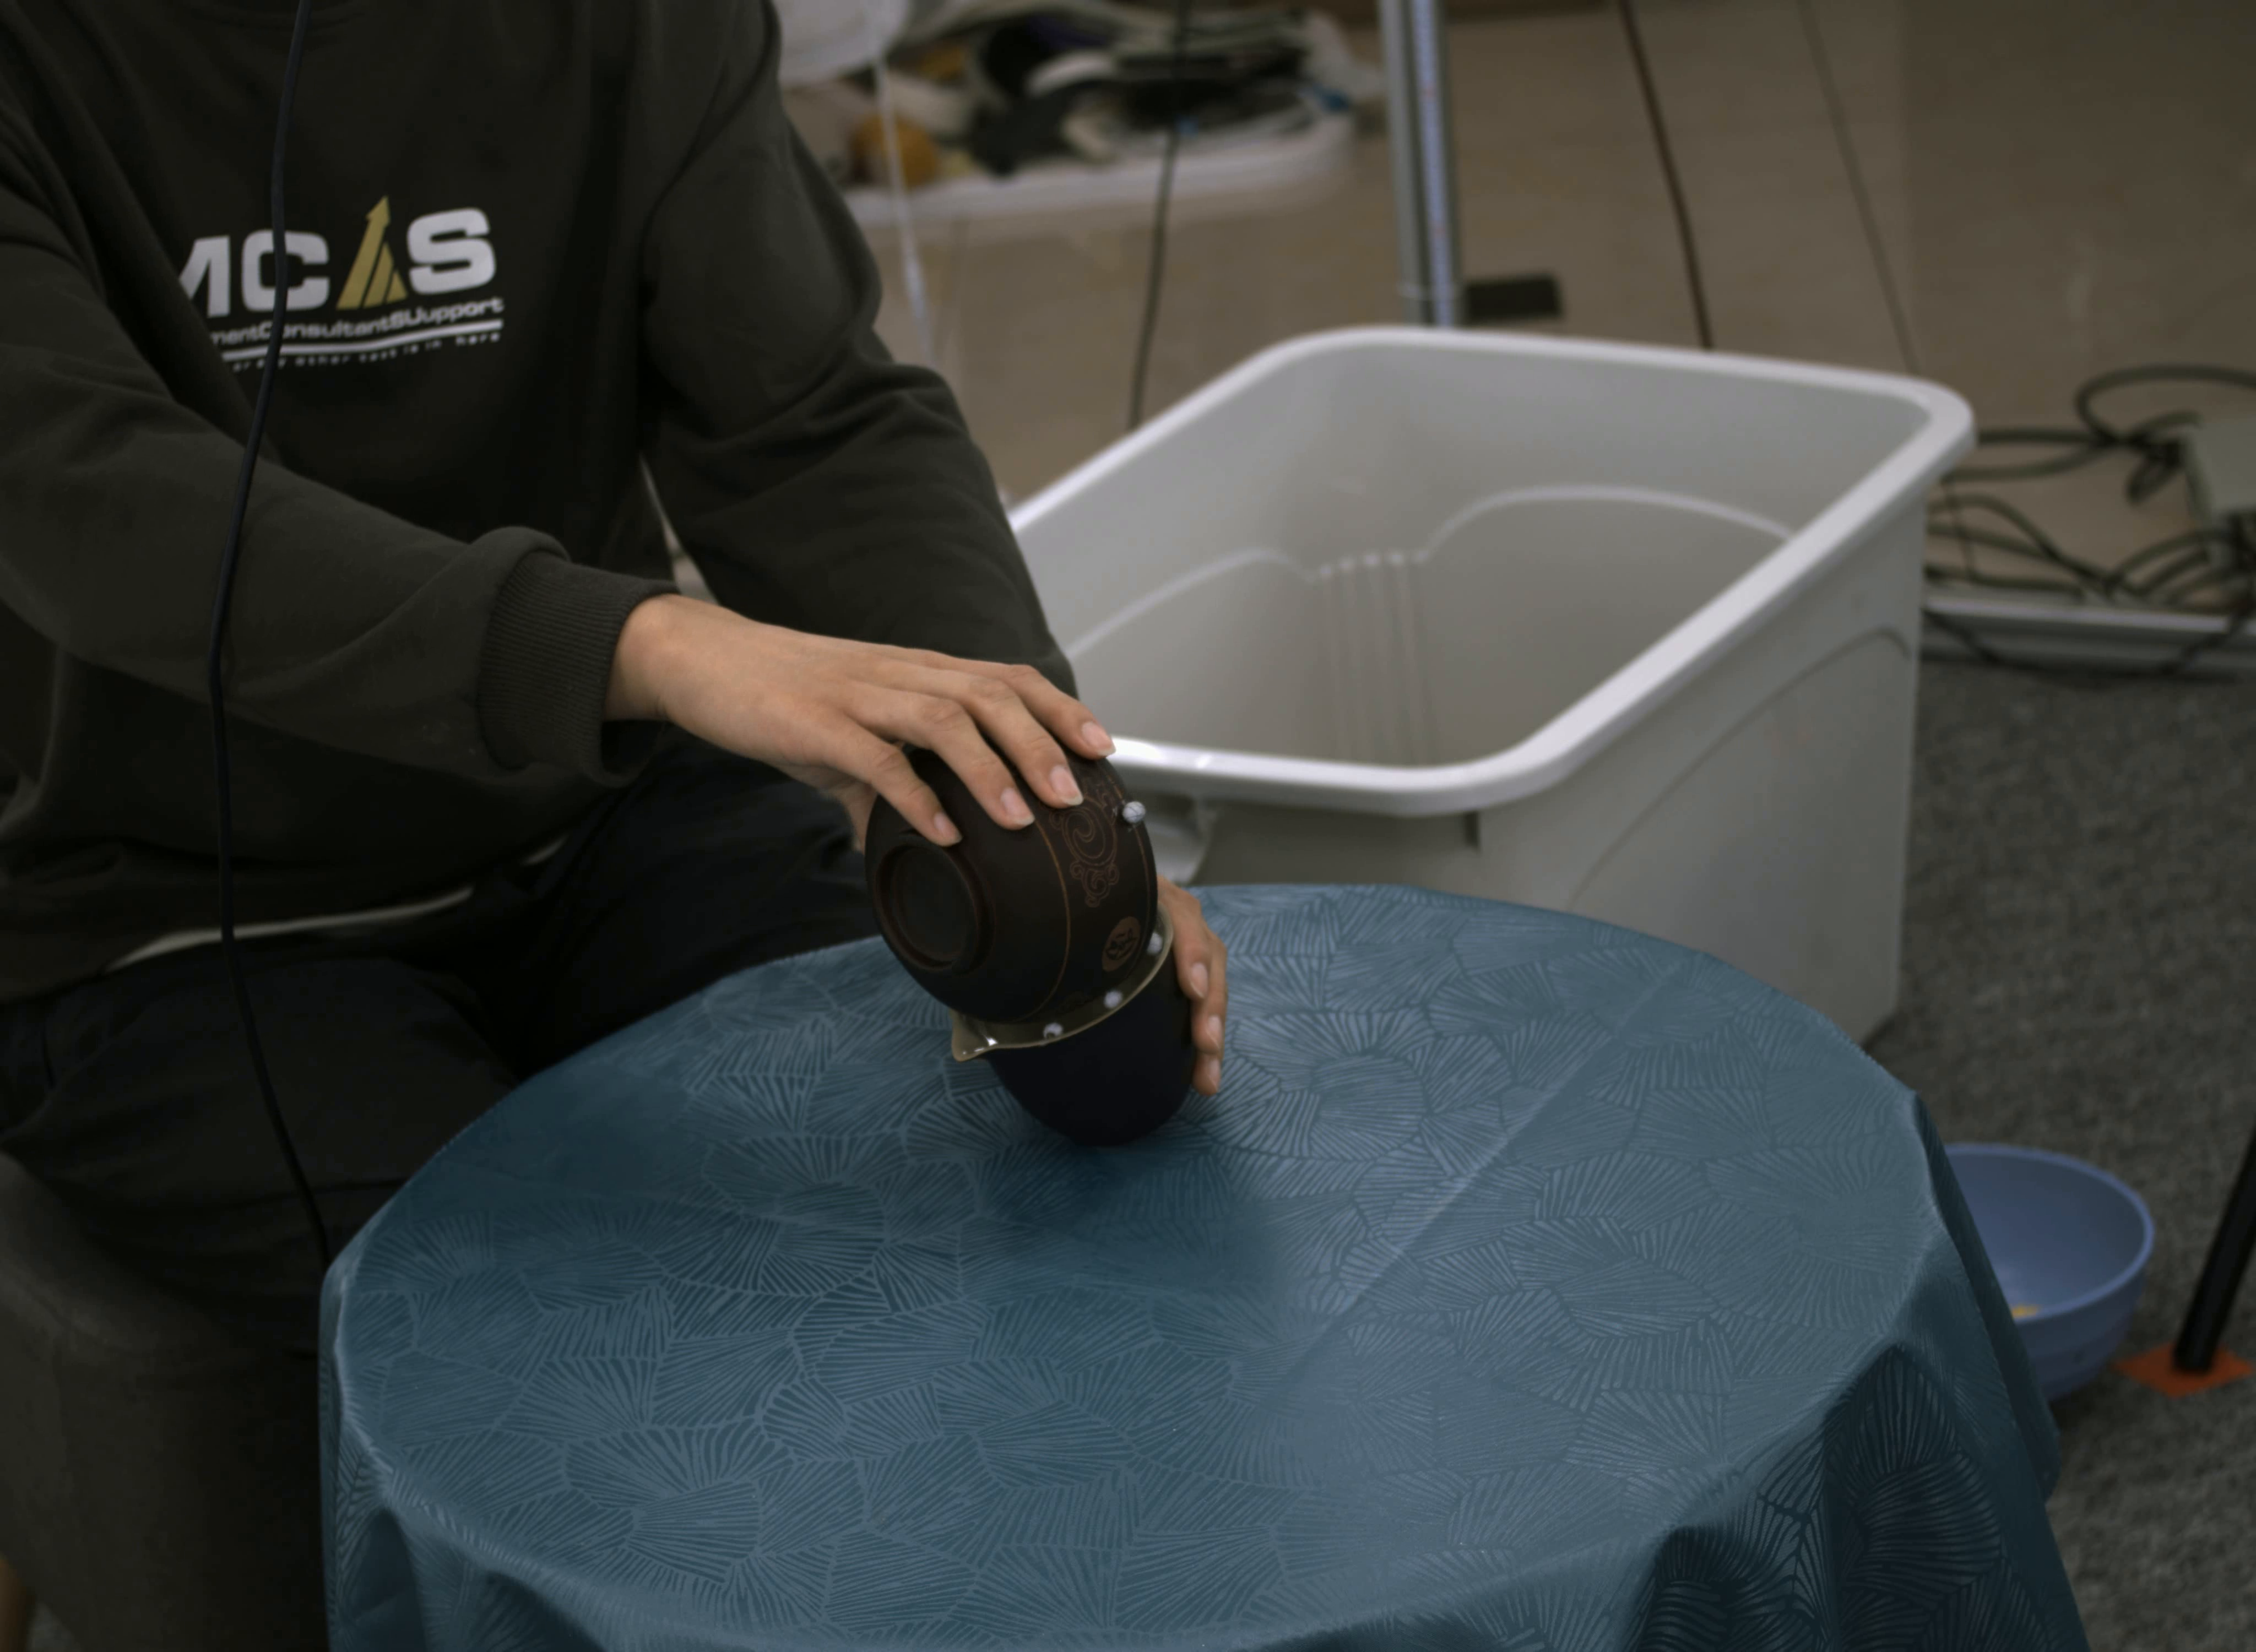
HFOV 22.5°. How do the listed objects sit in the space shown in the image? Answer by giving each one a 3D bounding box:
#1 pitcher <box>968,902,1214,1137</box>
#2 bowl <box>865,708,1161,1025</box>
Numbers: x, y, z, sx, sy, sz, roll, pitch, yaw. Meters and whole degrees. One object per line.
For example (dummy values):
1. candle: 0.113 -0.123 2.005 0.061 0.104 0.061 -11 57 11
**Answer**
1. pitcher: -0.010 0.080 2.186 0.095 0.072 0.082 -32 38 -10
2. bowl: -0.052 0.020 2.119 0.117 0.120 0.069 16 29 39
